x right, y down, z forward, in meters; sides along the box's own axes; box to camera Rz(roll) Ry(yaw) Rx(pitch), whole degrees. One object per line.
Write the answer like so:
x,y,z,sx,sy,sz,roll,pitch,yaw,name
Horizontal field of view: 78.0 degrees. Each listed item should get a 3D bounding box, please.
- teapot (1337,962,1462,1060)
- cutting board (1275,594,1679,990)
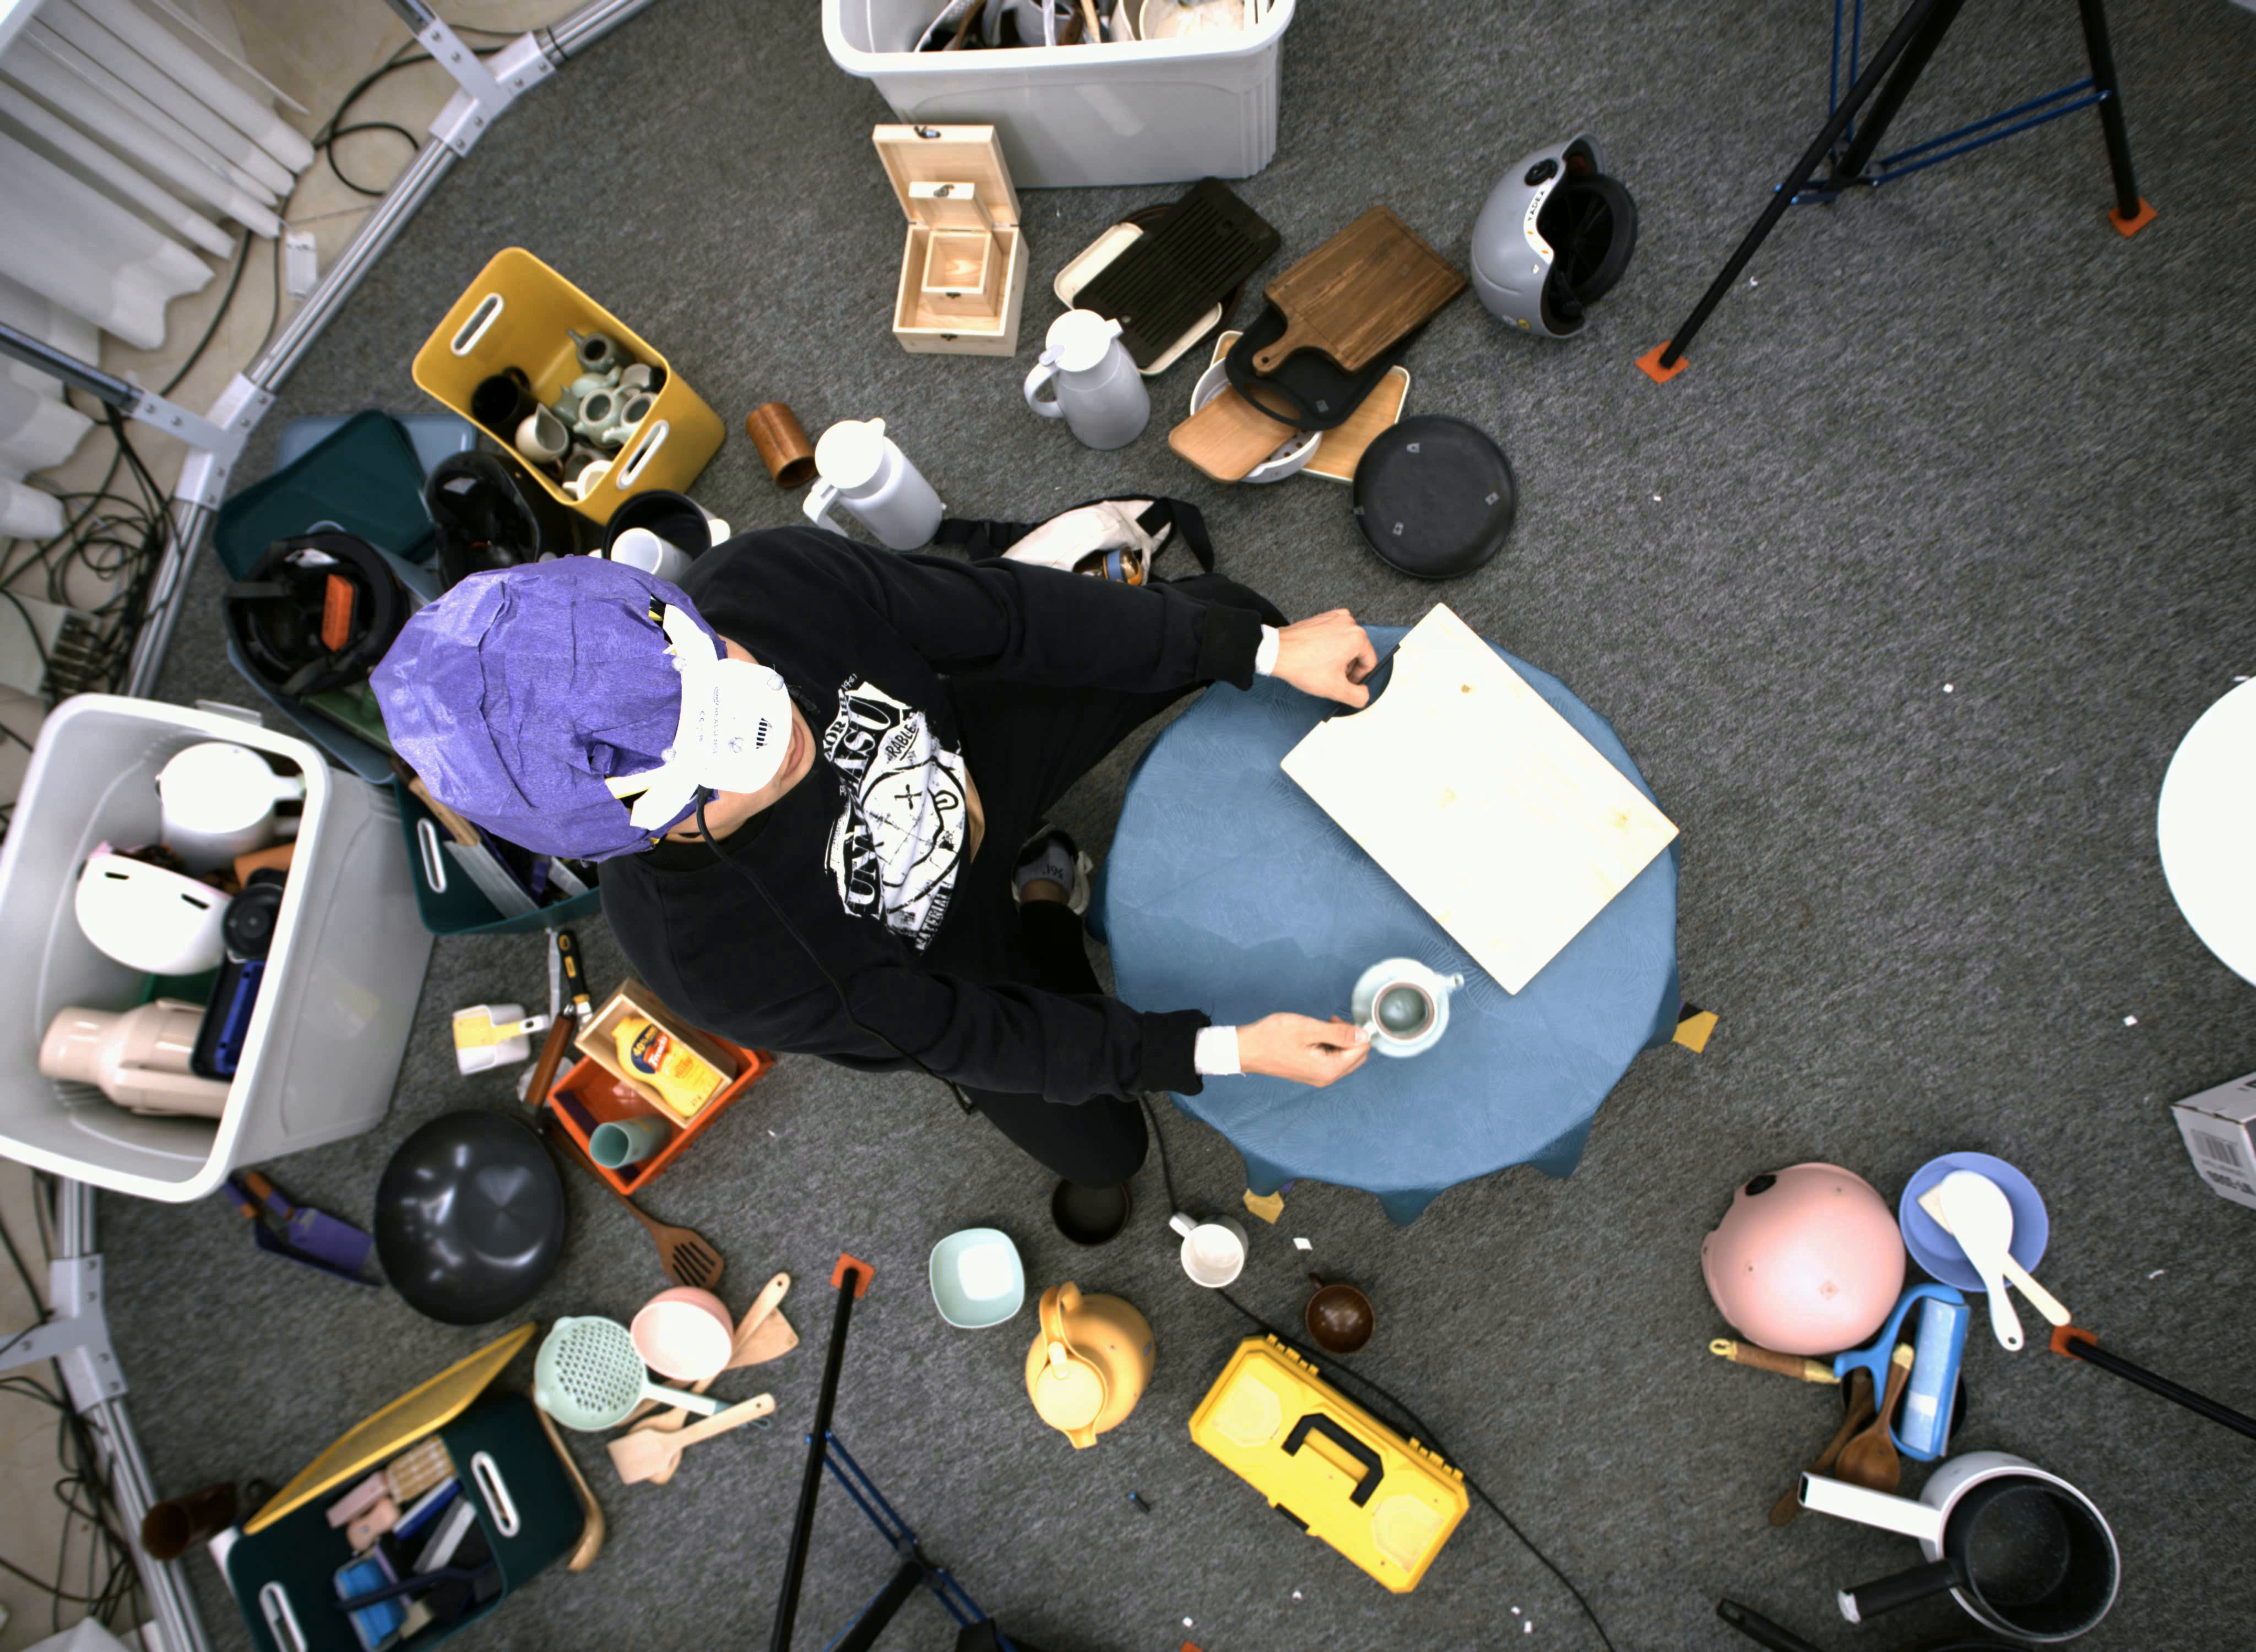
0.264,0.183,1.353,0.137,0.061,0.096,-31,89,5,teapot
0.358,-0.036,1.426,0.348,0.023,0.252,44,95,5,cutting board
